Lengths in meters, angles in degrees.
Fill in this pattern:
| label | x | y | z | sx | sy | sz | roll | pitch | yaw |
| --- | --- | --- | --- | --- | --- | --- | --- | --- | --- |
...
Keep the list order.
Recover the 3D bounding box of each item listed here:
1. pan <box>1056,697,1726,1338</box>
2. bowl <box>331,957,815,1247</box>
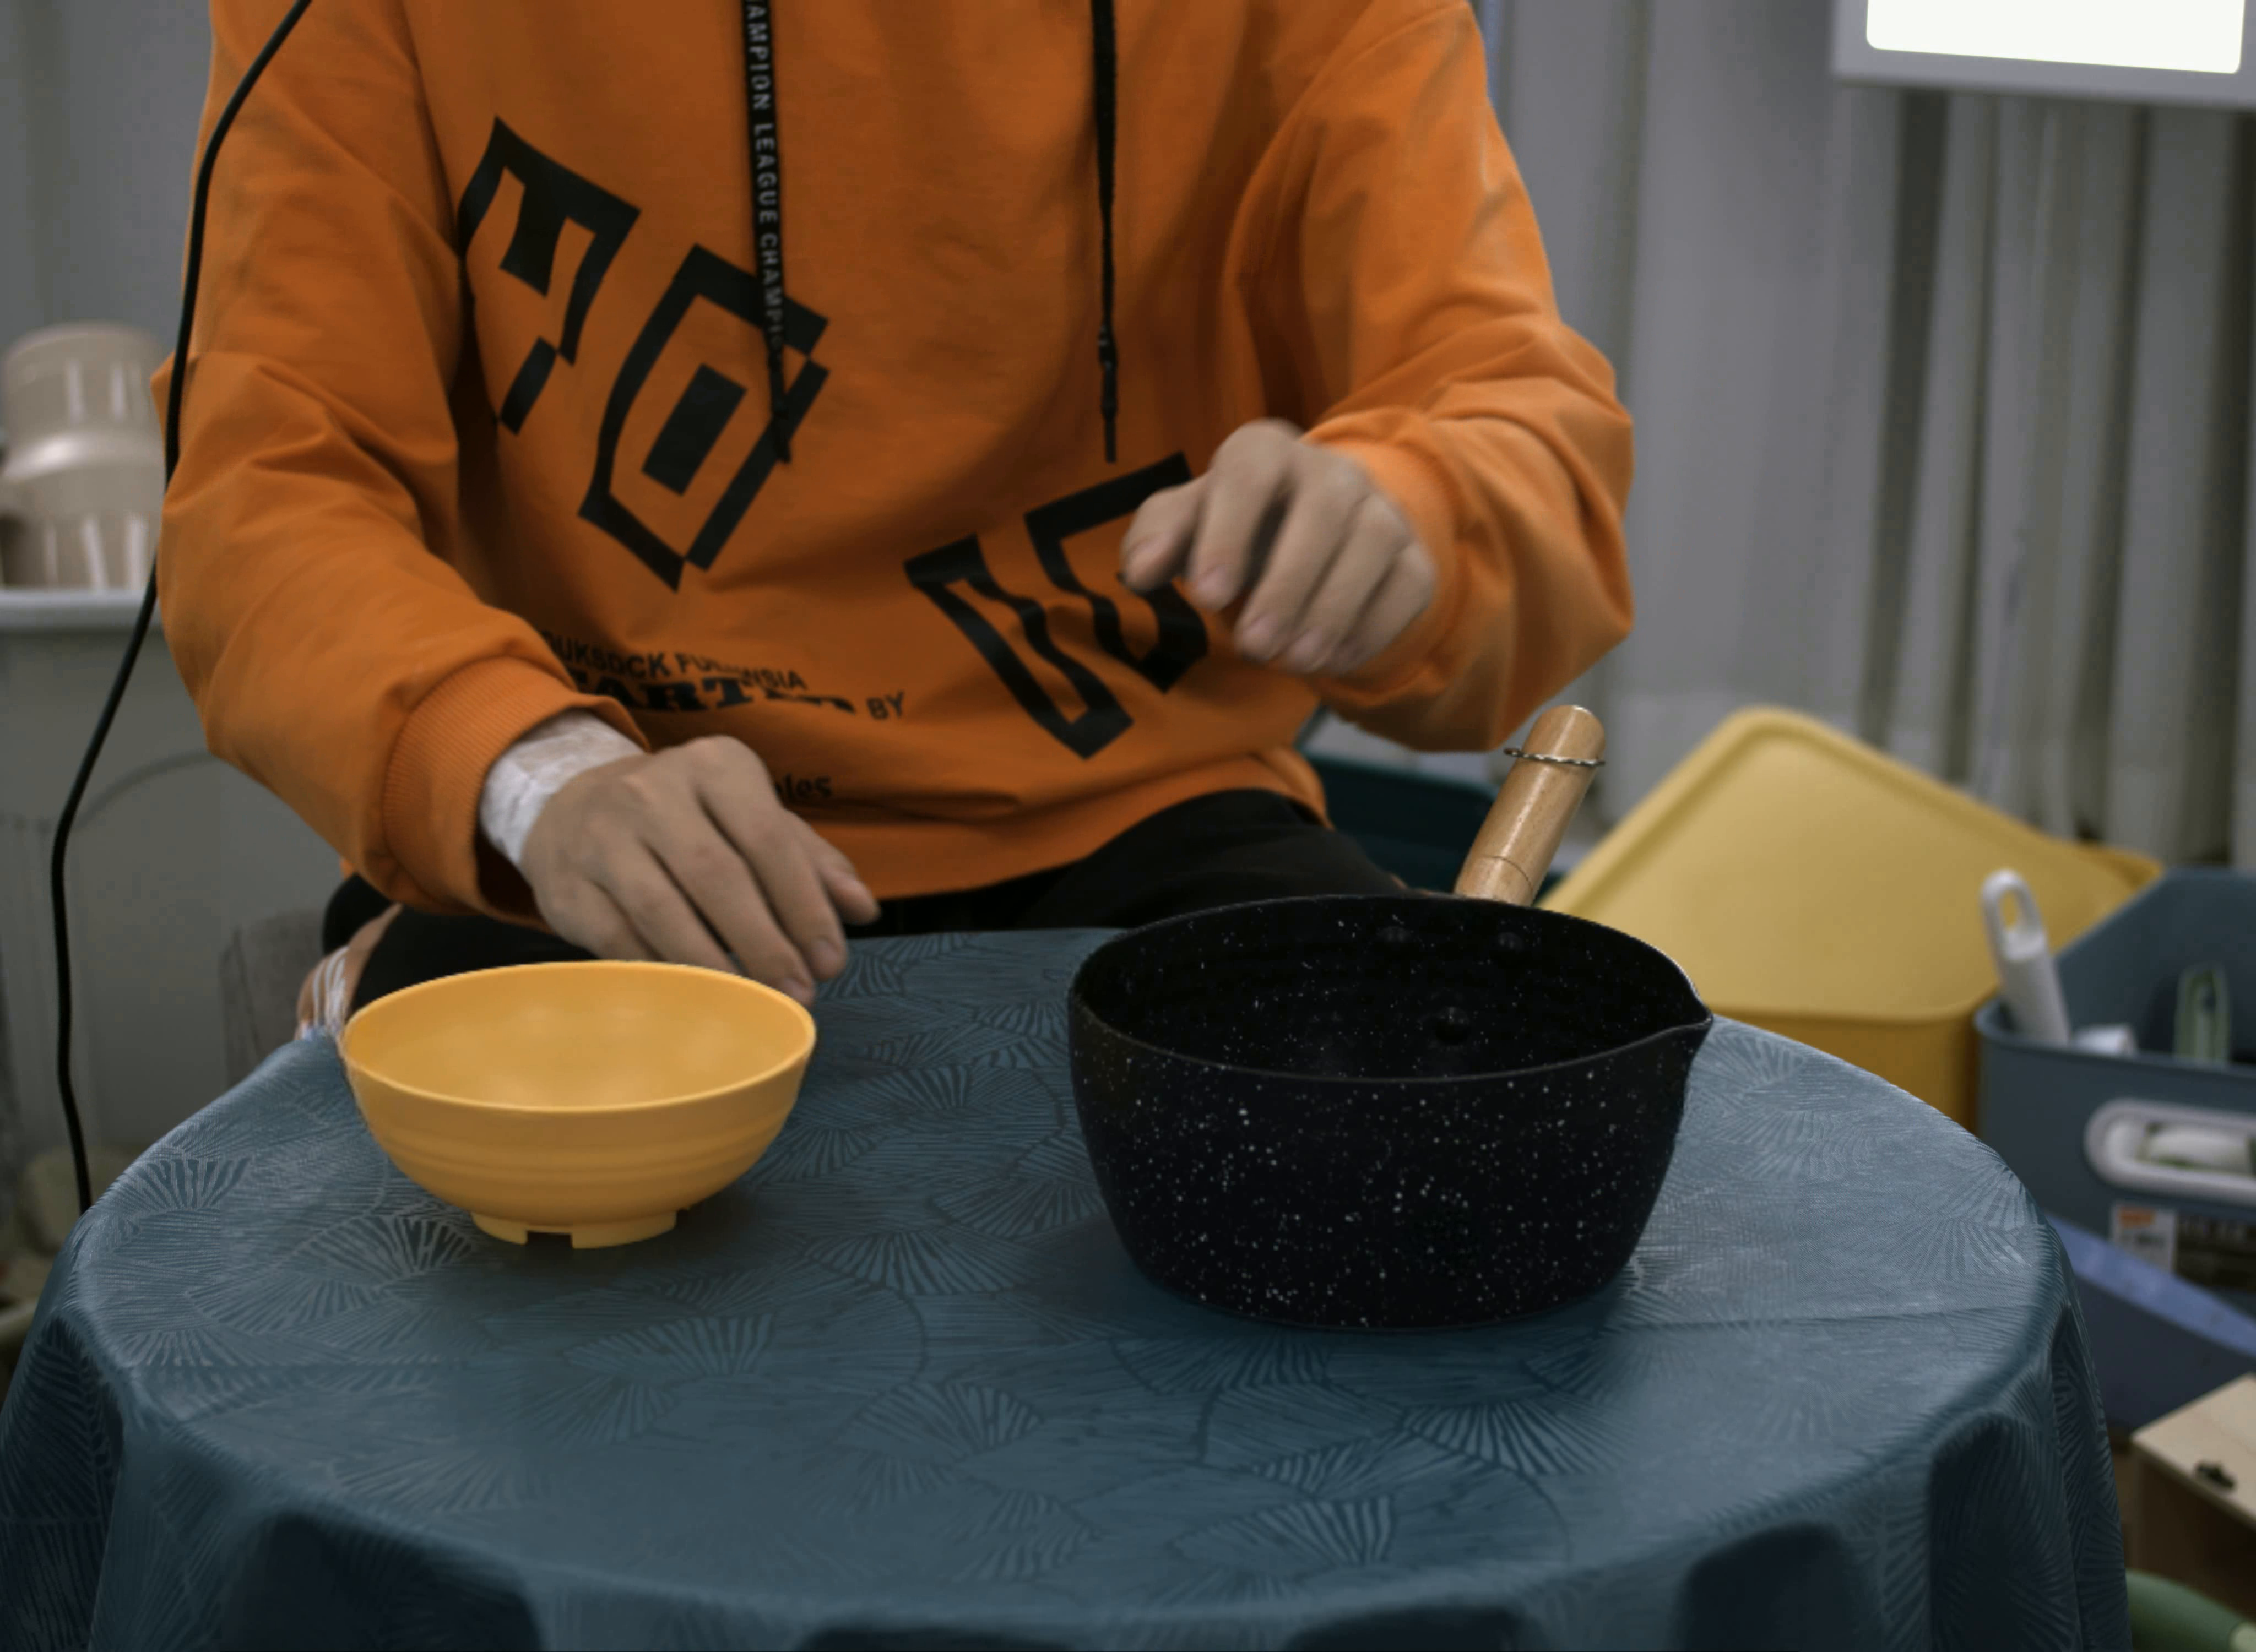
| label | x | y | z | sx | sy | sz | roll | pitch | yaw |
| --- | --- | --- | --- | --- | --- | --- | --- | --- | --- |
| pan | 0.097 | 0.054 | 1.633 | 0.206 | 0.109 | 0.342 | 4 | 17 | 16 |
| bowl | -0.167 | 0.089 | 1.592 | 0.145 | 0.060 | 0.144 | 2 | 16 | 0 |
